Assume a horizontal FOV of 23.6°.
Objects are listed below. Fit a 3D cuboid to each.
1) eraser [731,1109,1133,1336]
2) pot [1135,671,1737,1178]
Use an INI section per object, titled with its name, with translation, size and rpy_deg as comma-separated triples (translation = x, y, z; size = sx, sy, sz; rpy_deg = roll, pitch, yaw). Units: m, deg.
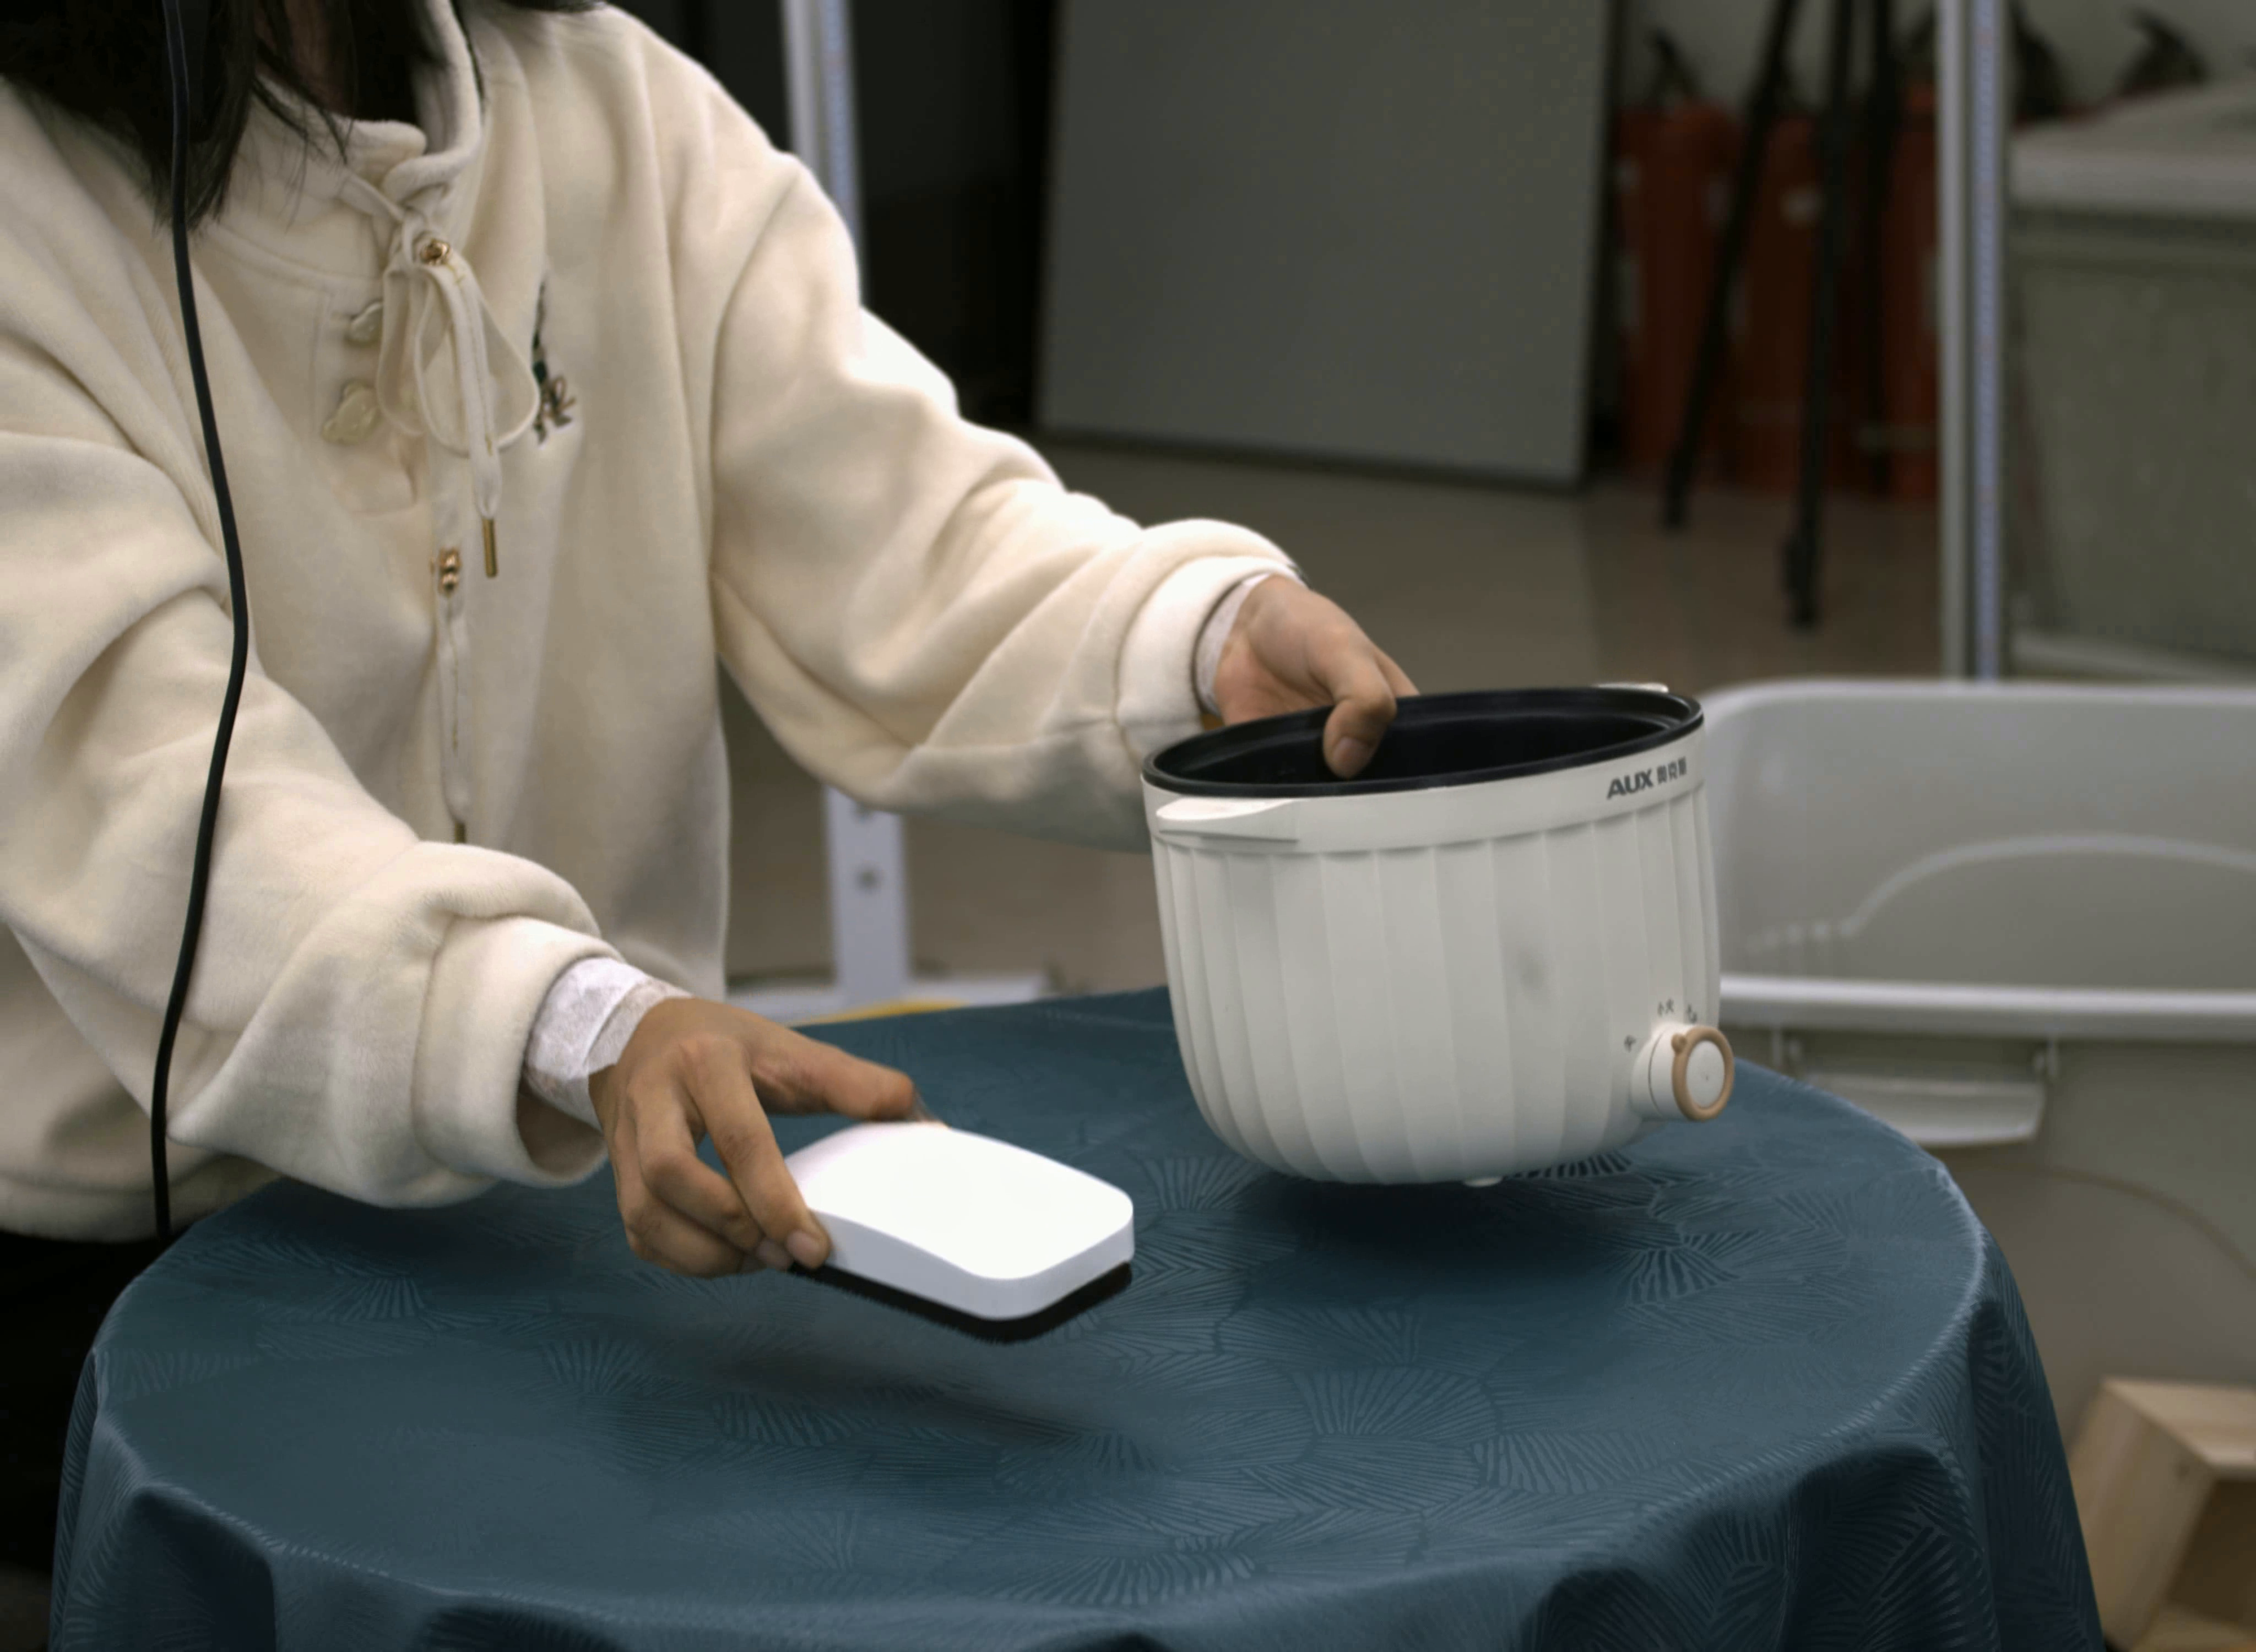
[eraser]
translation = -0.057, 0.113, 1.583
size = 0.062, 0.035, 0.132
rpy_deg = -24, 24, -37
[pot]
translation = 0.104, 0.032, 1.715
size = 0.192, 0.144, 0.235
rpy_deg = -4, 9, 42
